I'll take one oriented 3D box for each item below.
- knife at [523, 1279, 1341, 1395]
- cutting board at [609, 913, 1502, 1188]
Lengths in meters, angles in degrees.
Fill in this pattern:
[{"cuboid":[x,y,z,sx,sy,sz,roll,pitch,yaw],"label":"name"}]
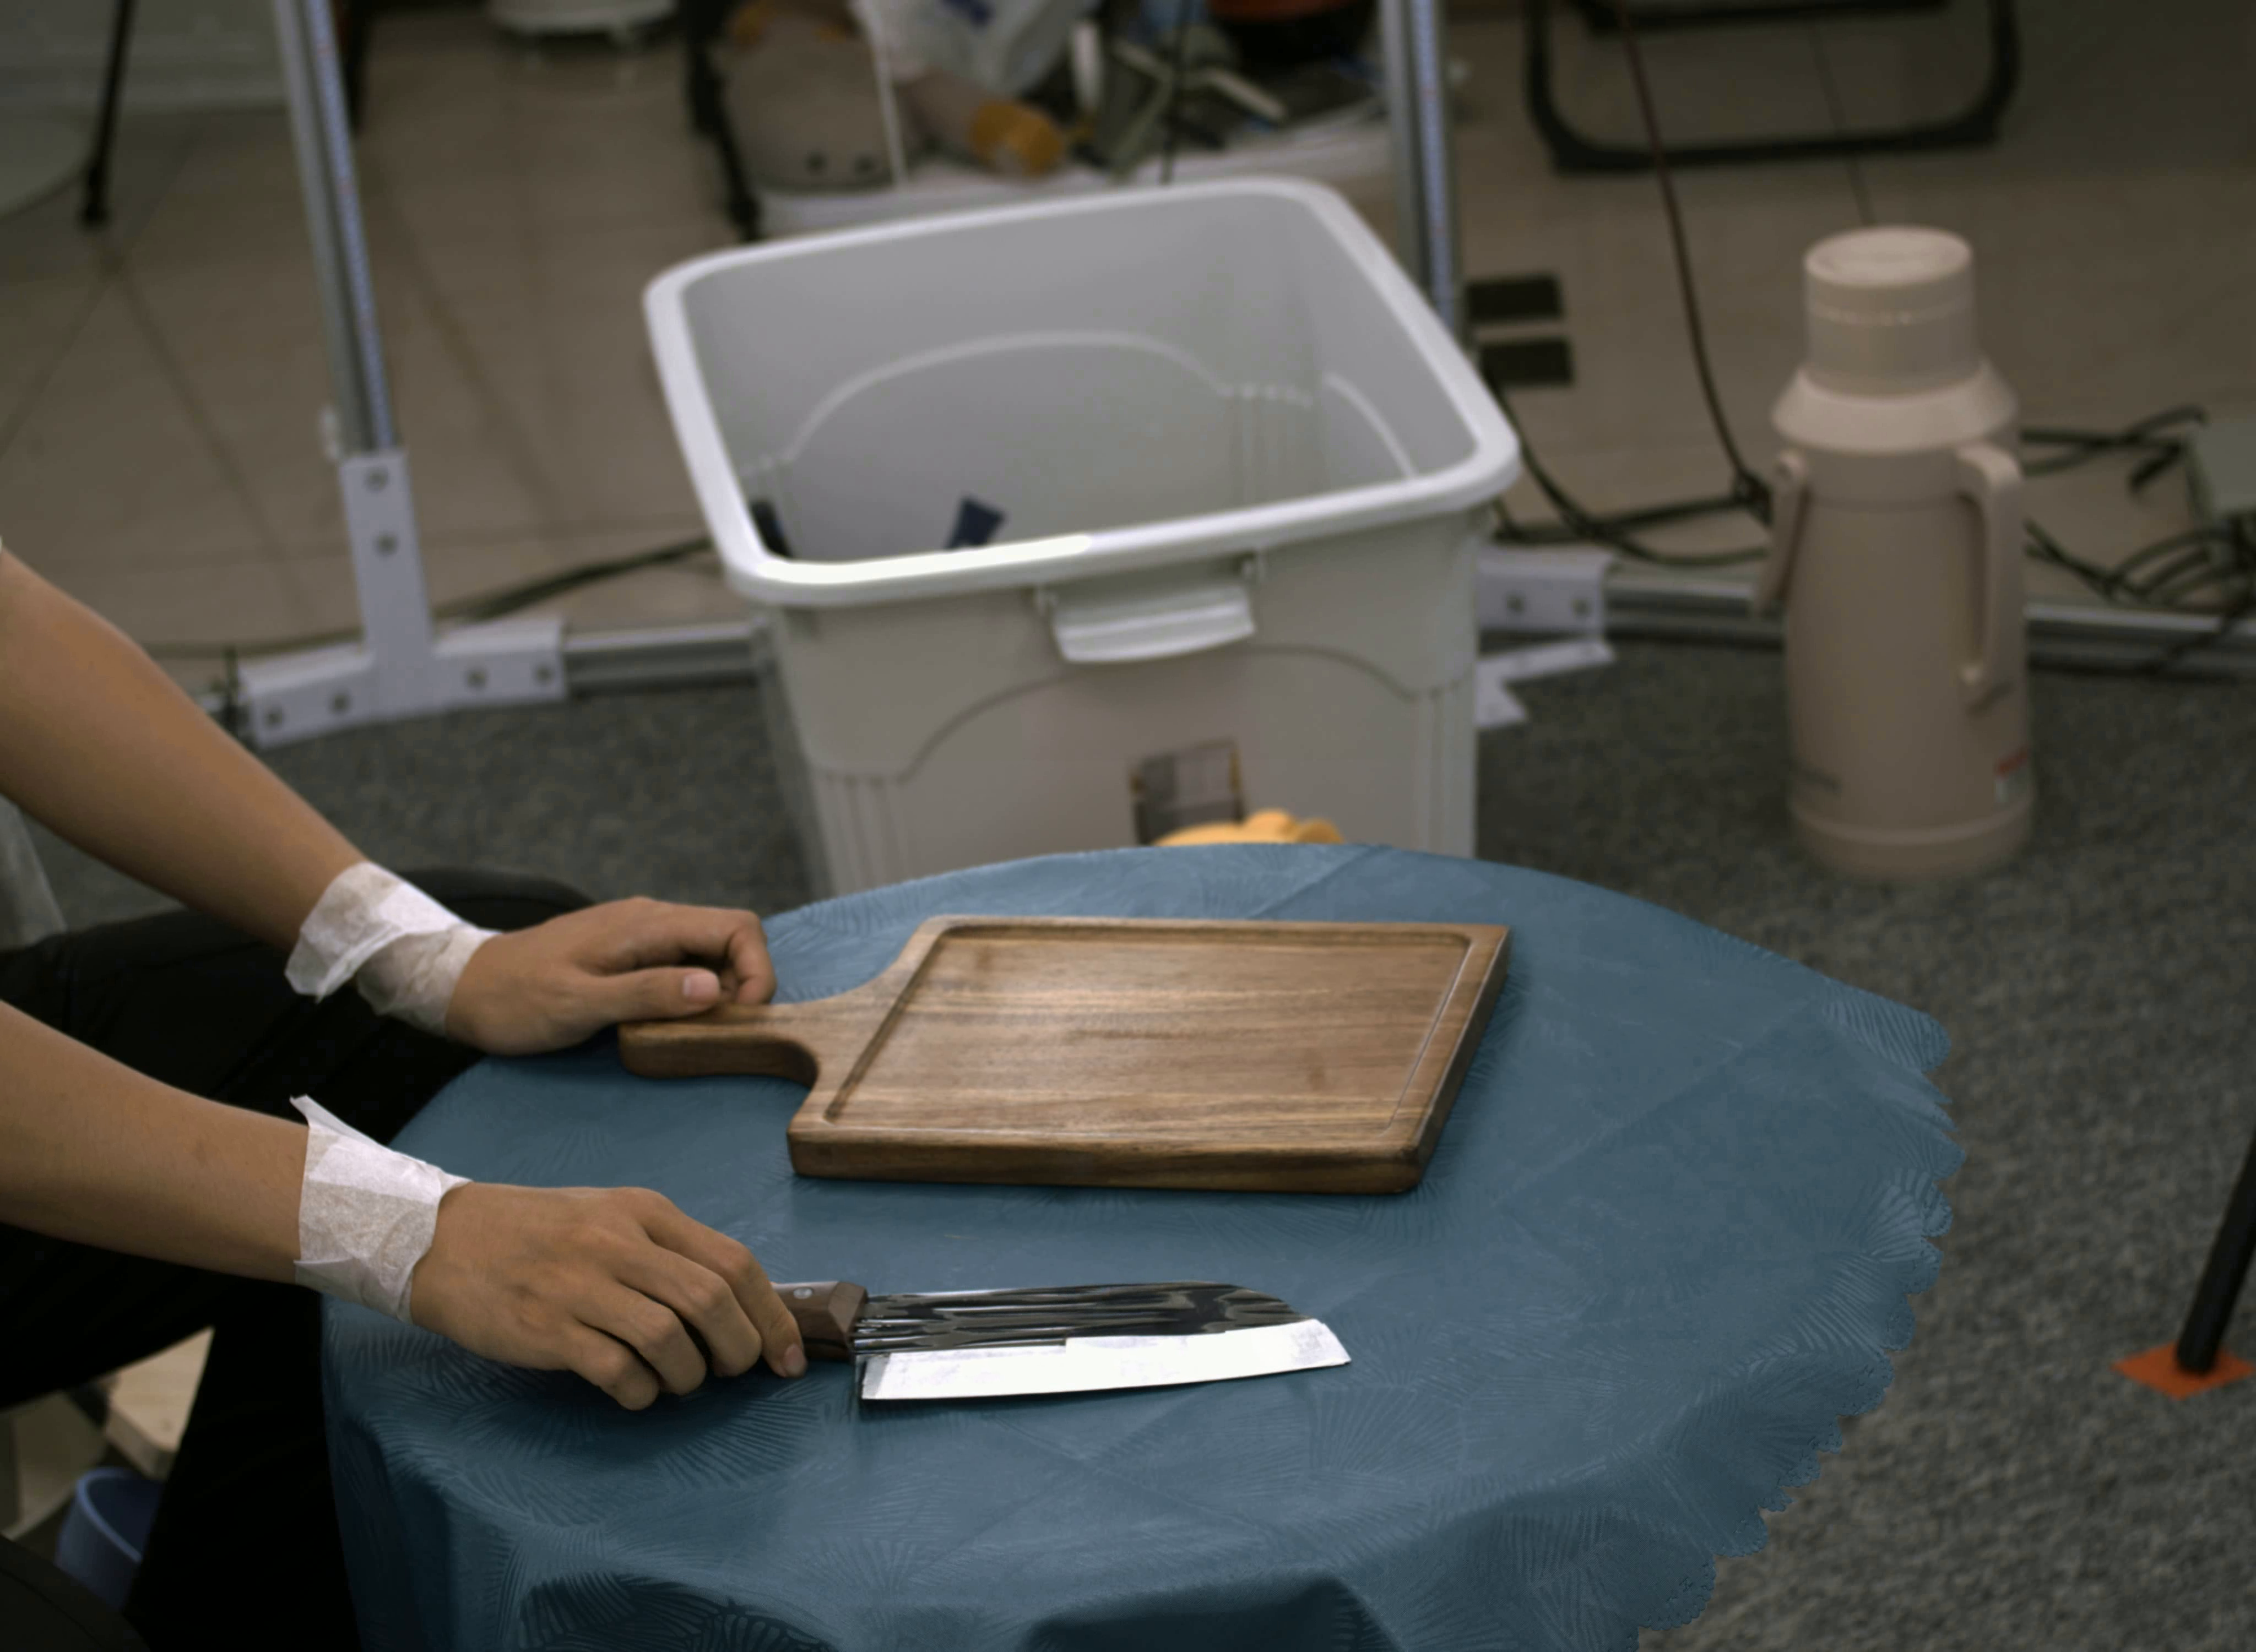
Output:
[{"cuboid":[-0.073,0.185,2.047,0.299,0.024,0.067,-2,29,3],"label":"knife"},{"cuboid":[-0.039,0.085,2.251,0.351,0.023,0.198,1,26,16],"label":"cutting board"}]
